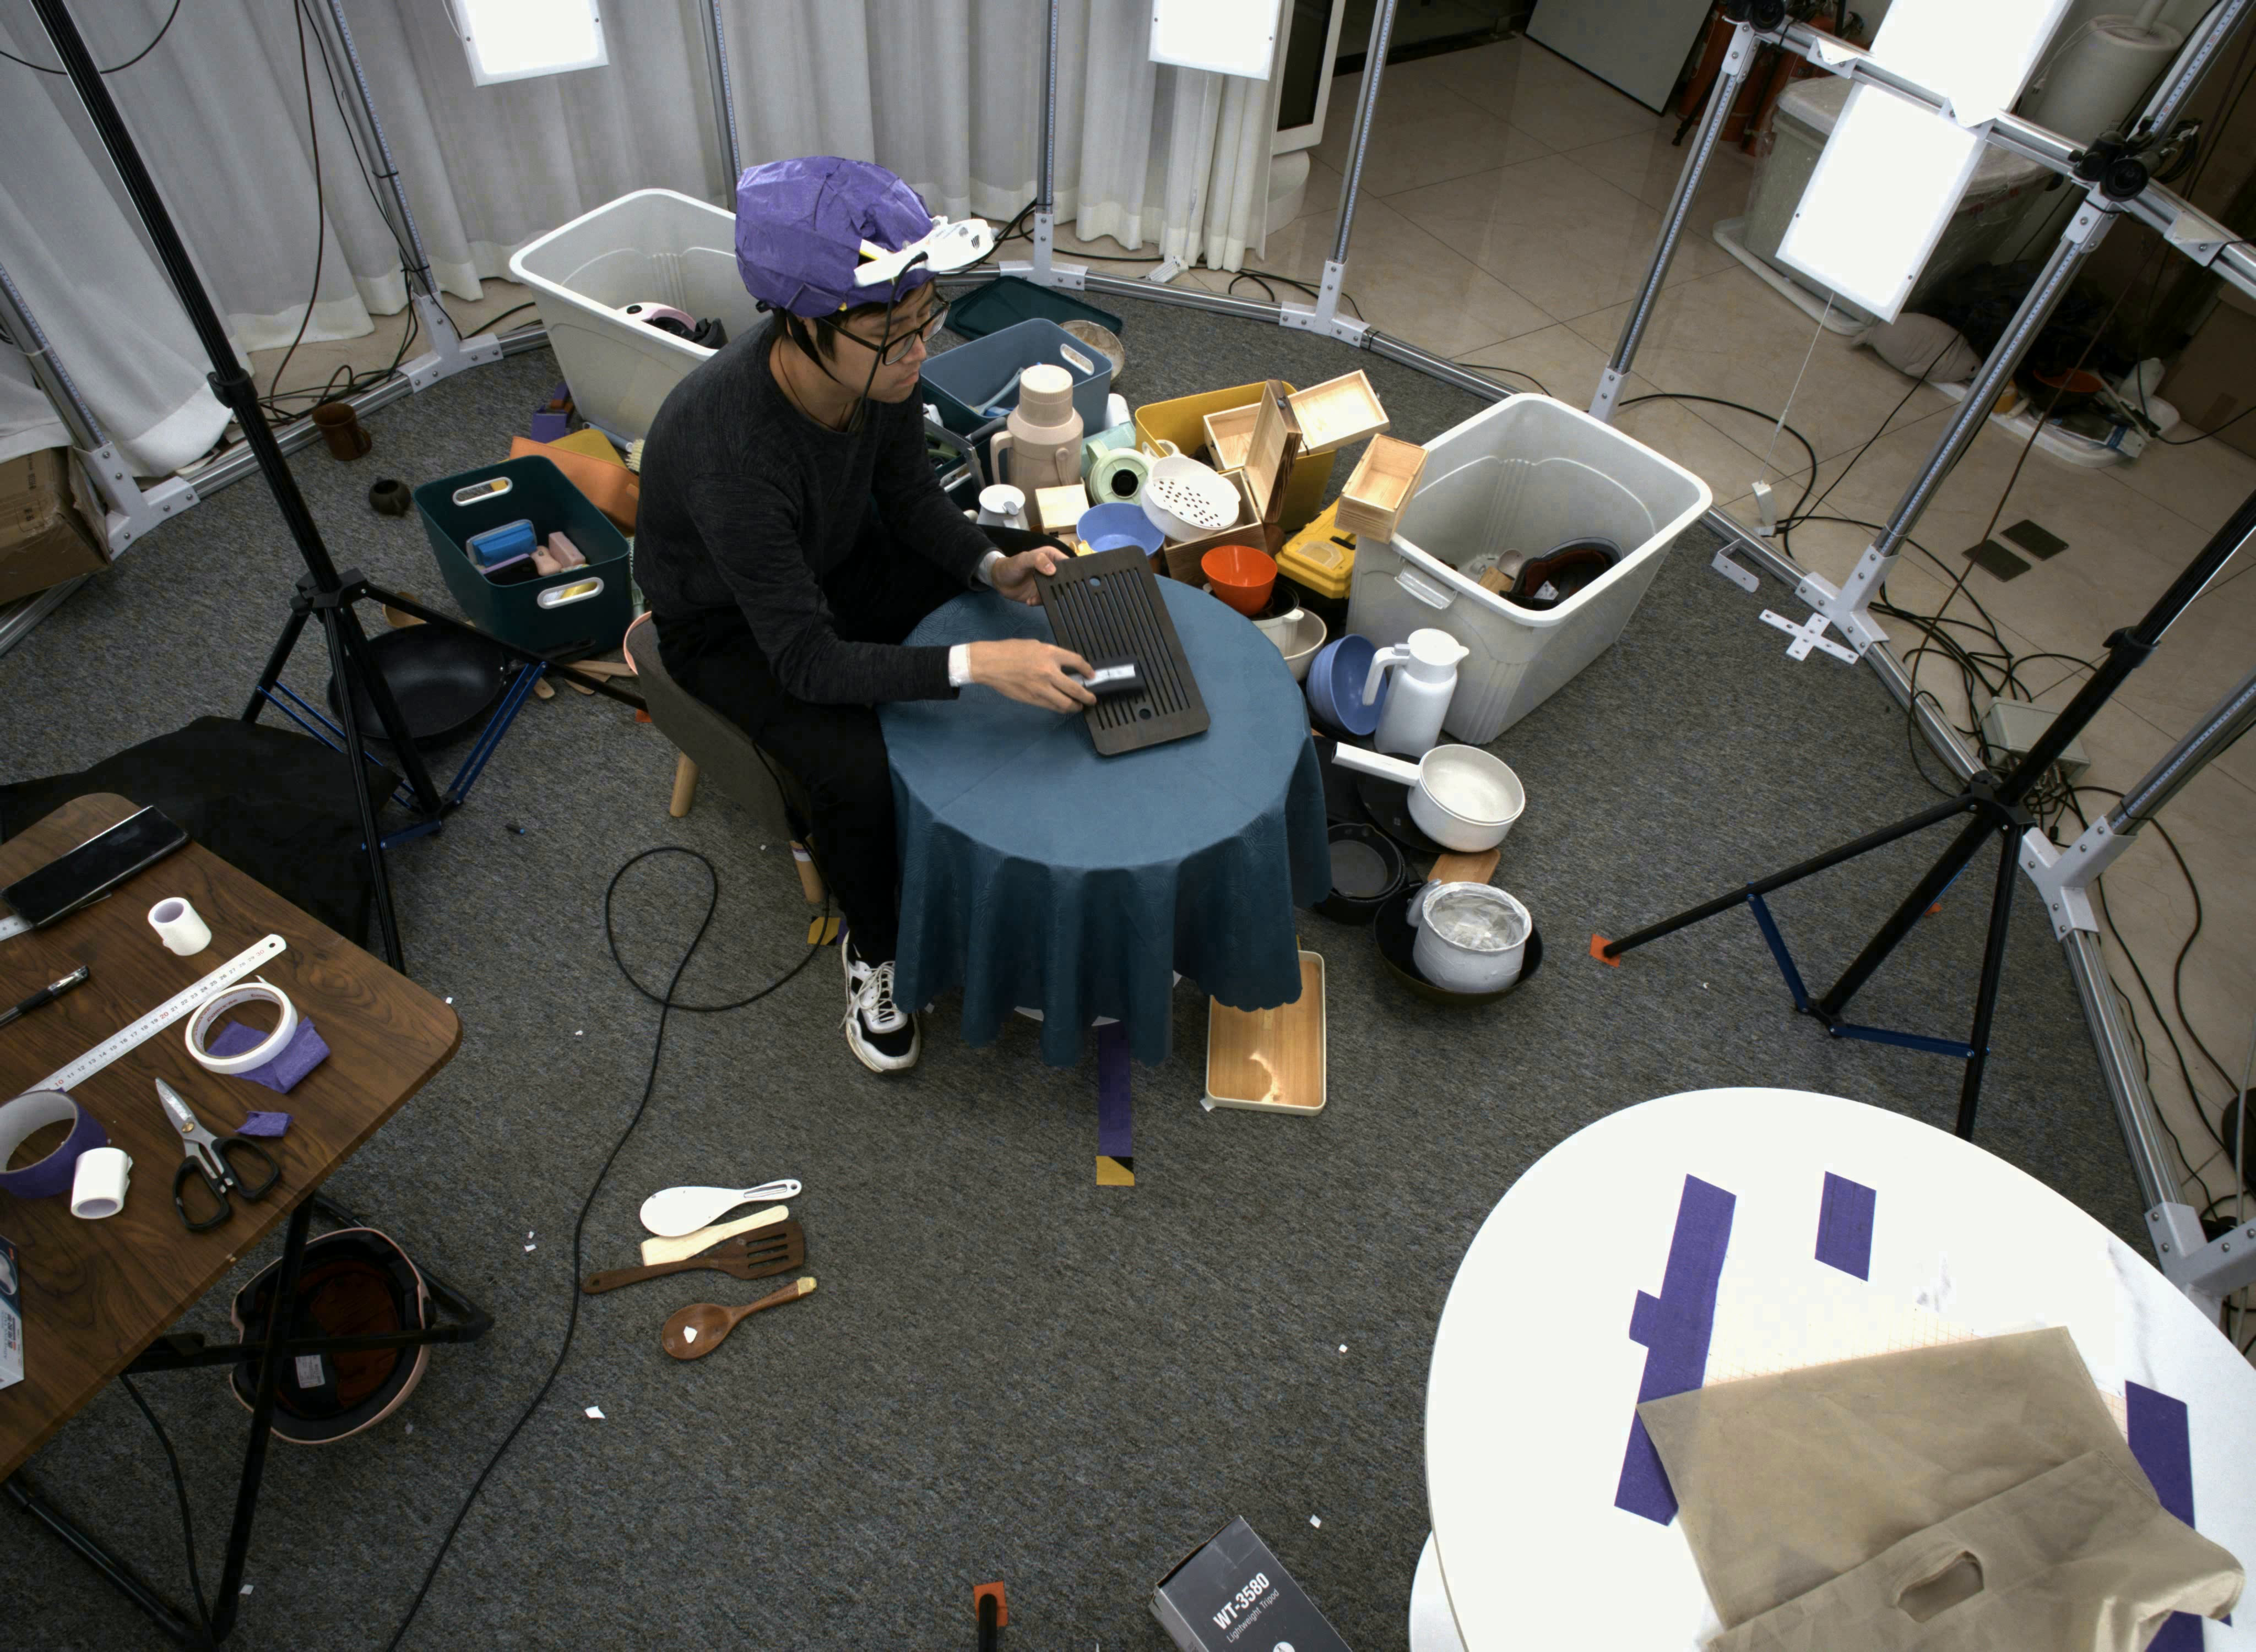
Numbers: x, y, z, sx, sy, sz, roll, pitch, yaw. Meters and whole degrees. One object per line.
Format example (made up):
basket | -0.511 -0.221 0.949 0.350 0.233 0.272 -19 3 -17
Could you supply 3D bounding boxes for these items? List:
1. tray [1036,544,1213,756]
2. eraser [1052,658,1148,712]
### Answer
tray | -0.007 -0.252 1.814 0.170 0.018 0.310 -15 71 -15
eraser | -0.039 -0.195 1.764 0.125 0.030 0.054 -12 69 -12
